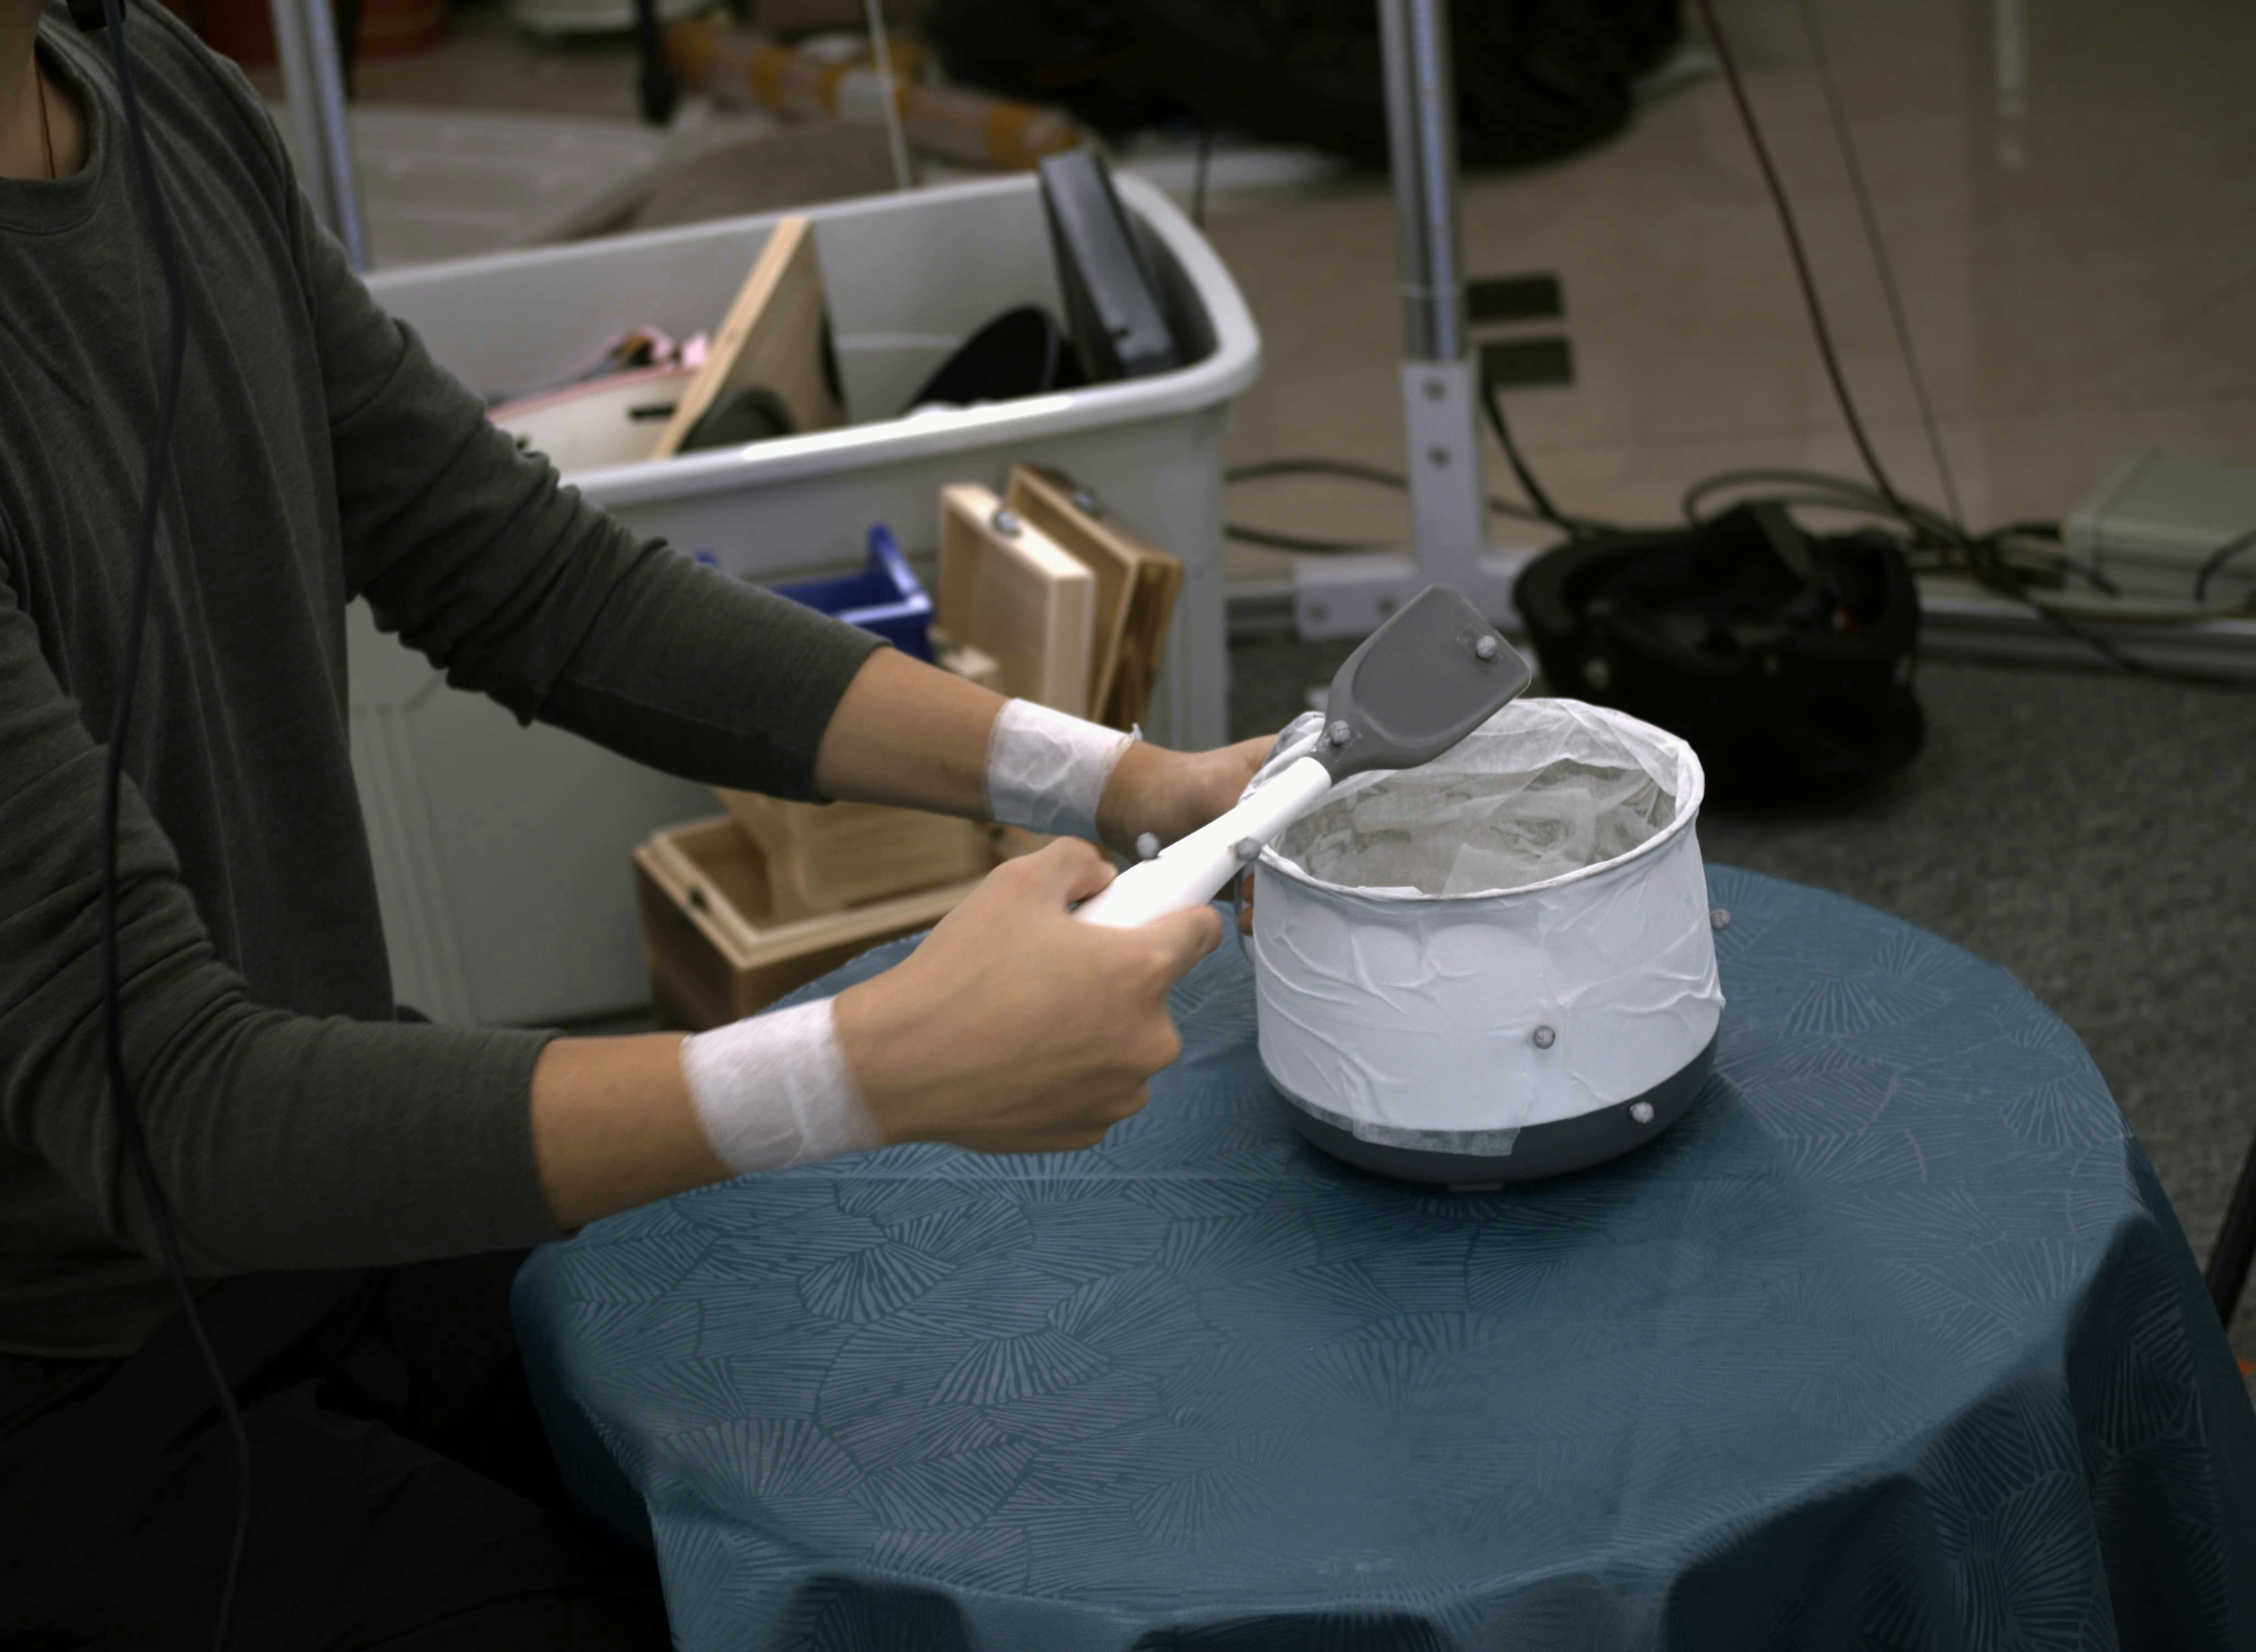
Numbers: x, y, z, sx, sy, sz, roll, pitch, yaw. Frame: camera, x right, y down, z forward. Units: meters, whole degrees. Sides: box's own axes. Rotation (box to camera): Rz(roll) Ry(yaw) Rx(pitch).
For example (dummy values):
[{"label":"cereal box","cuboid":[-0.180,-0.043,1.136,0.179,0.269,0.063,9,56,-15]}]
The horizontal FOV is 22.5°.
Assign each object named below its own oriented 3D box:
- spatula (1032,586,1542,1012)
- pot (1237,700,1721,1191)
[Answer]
[{"label":"spatula","cuboid":[0.056,-0.010,2.002,0.058,0.033,0.284,43,42,9]},{"label":"pot","cuboid":[0.118,0.038,2.174,0.177,0.139,0.231,-22,29,-30]}]
